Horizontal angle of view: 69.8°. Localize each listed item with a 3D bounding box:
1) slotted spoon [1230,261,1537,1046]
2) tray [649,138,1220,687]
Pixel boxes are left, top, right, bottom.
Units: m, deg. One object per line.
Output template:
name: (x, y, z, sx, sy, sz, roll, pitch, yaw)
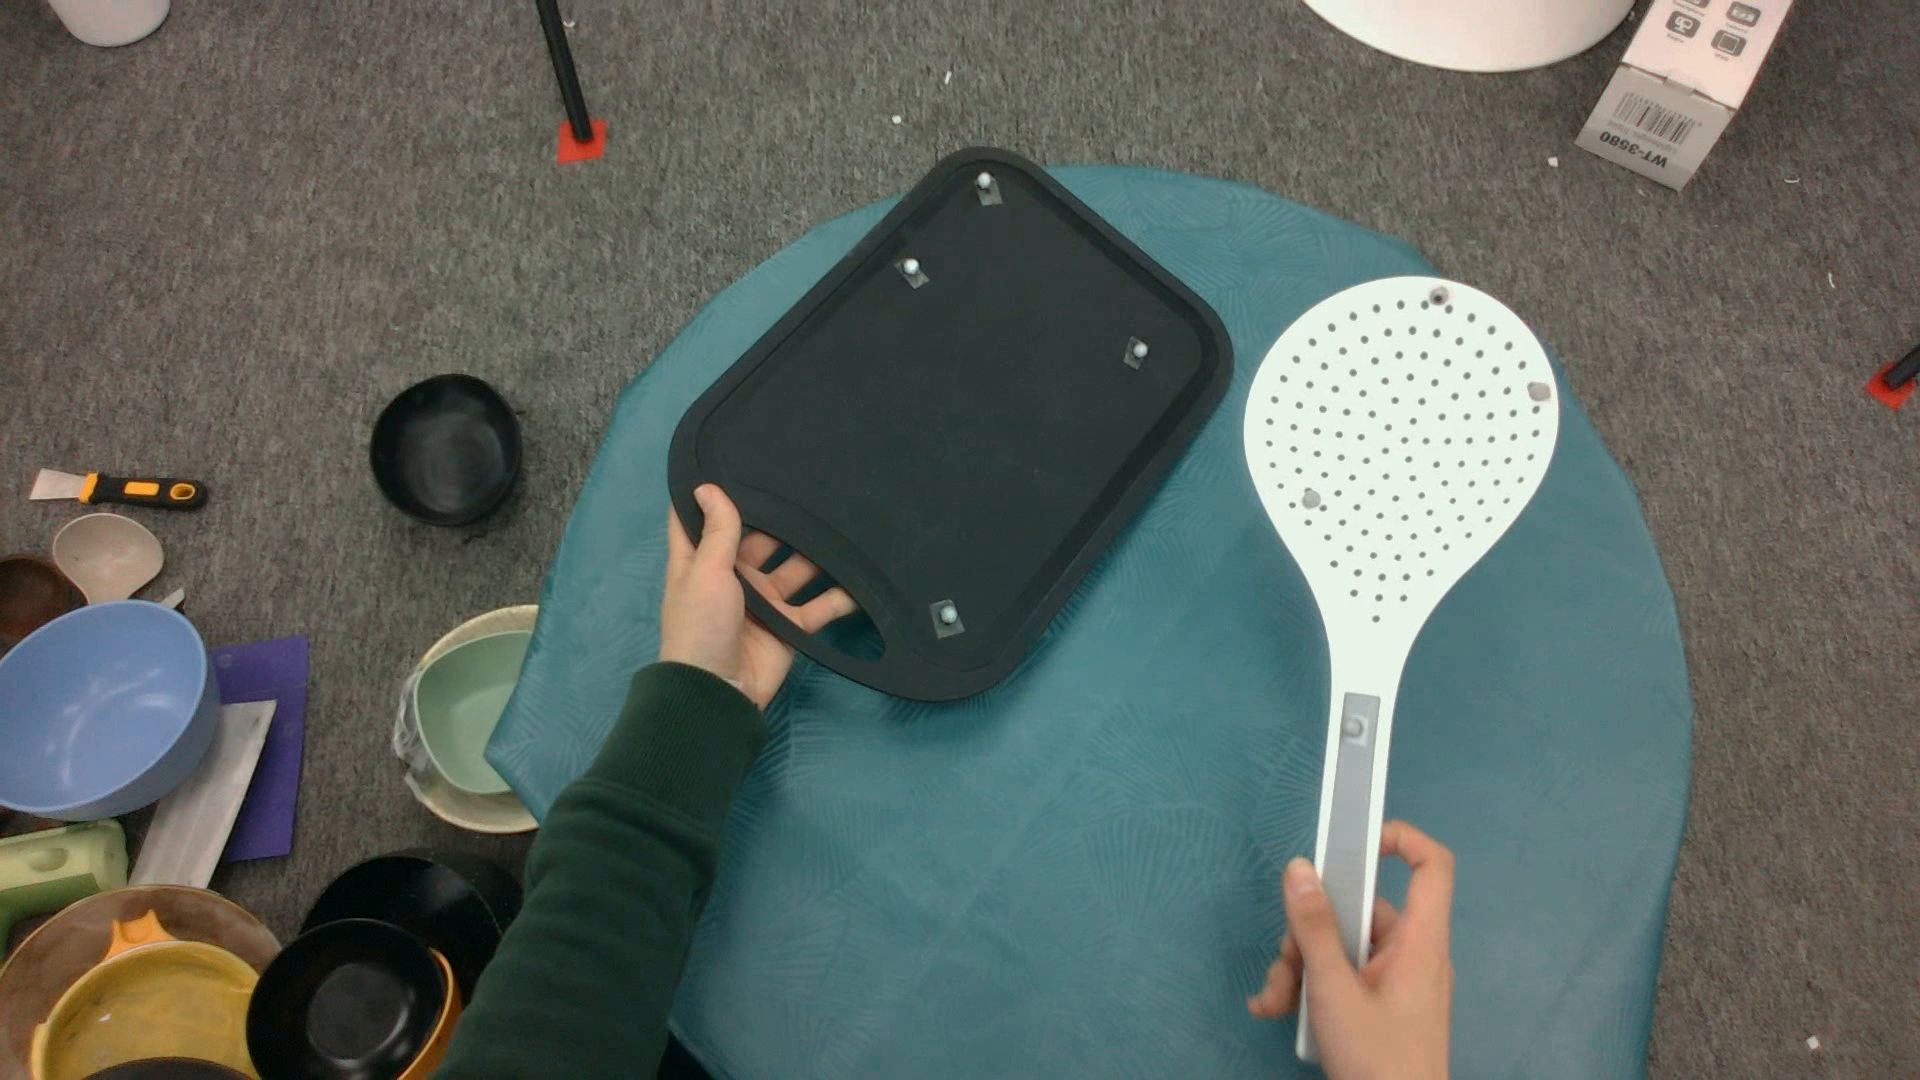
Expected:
slotted spoon: (0.178, 0.047, 0.619, 0.136, 0.046, 0.350, 5, 79, 28)
tray: (-0.005, -0.076, 0.729, 0.211, 0.010, 0.327, 39, 62, 2)
